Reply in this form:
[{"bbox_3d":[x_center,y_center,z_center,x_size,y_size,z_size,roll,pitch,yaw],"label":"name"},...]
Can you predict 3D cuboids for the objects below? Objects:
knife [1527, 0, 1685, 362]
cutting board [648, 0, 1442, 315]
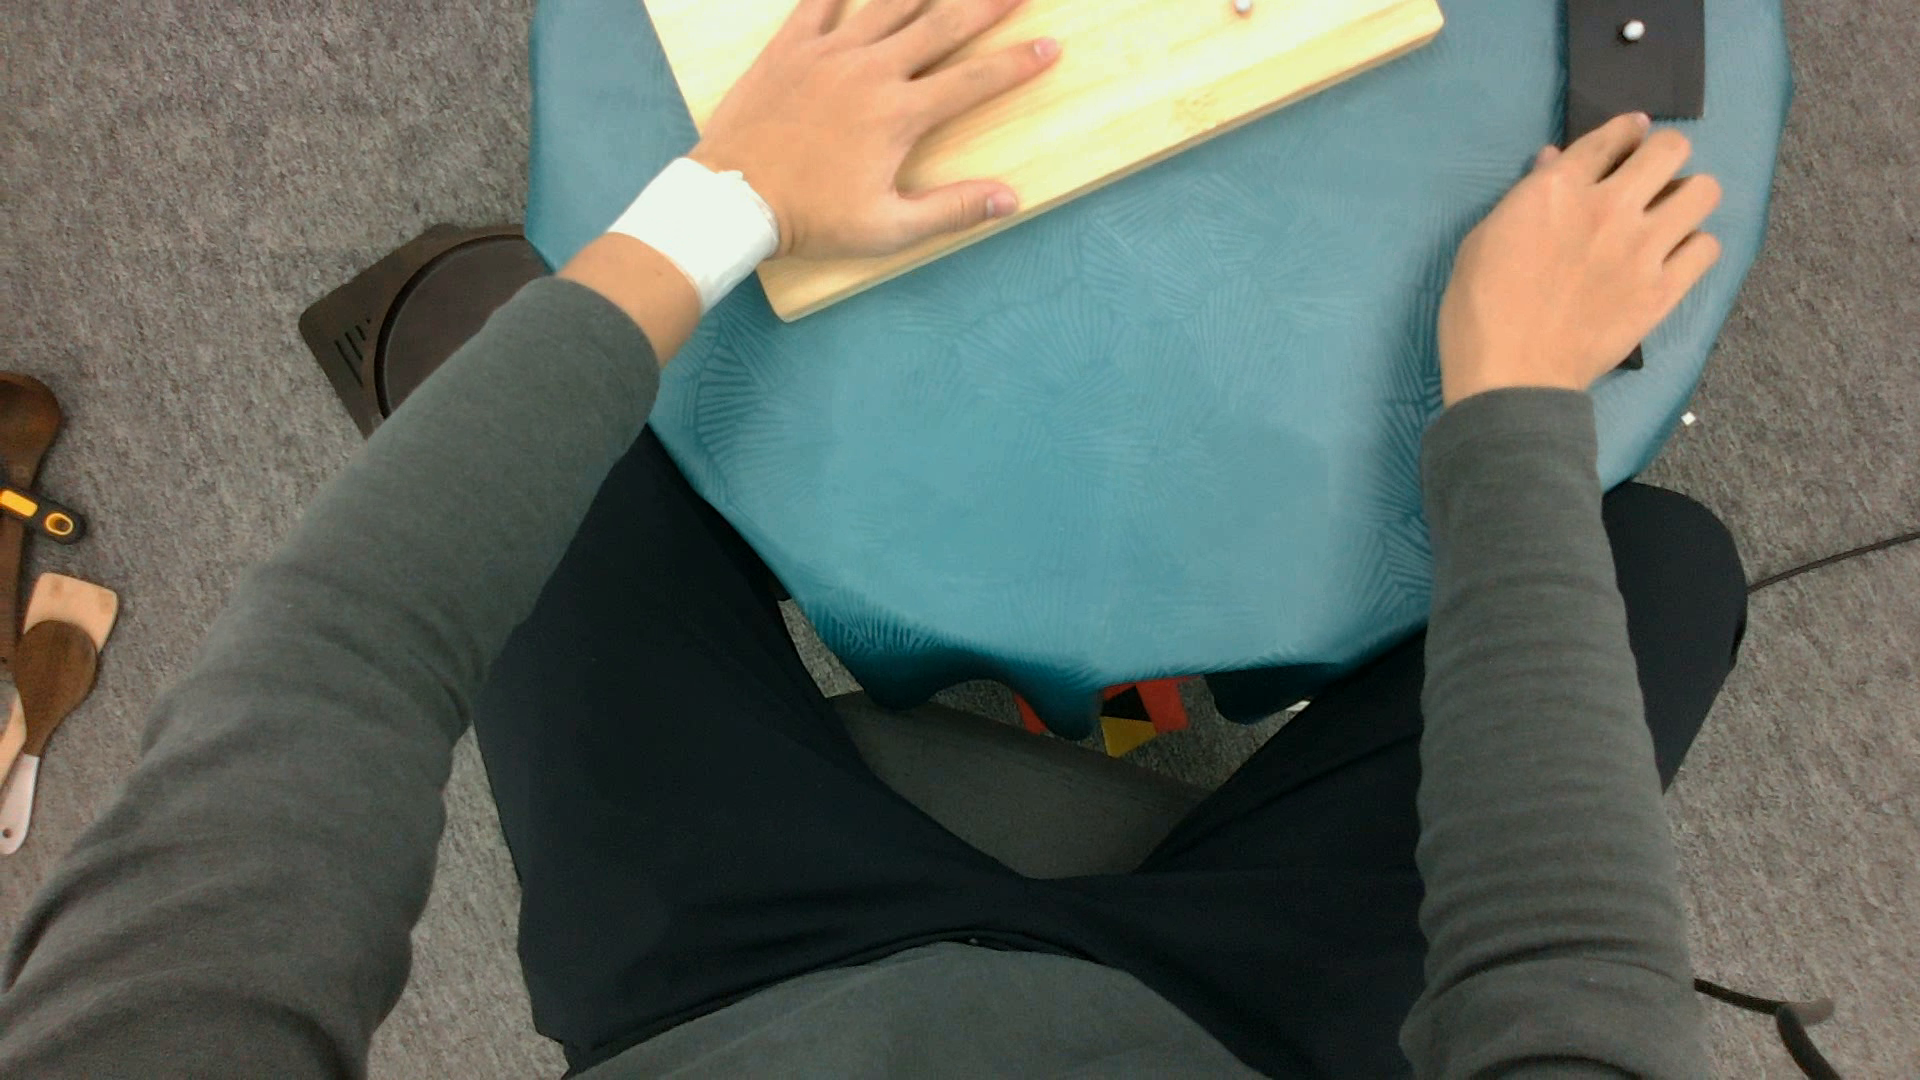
[{"bbox_3d":[0.304,-0.234,0.652,0.081,0.021,0.302,4,85,0],"label":"knife"},{"bbox_3d":[0.021,-0.285,0.666,0.348,0.023,0.251,-24,86,1],"label":"cutting board"}]
